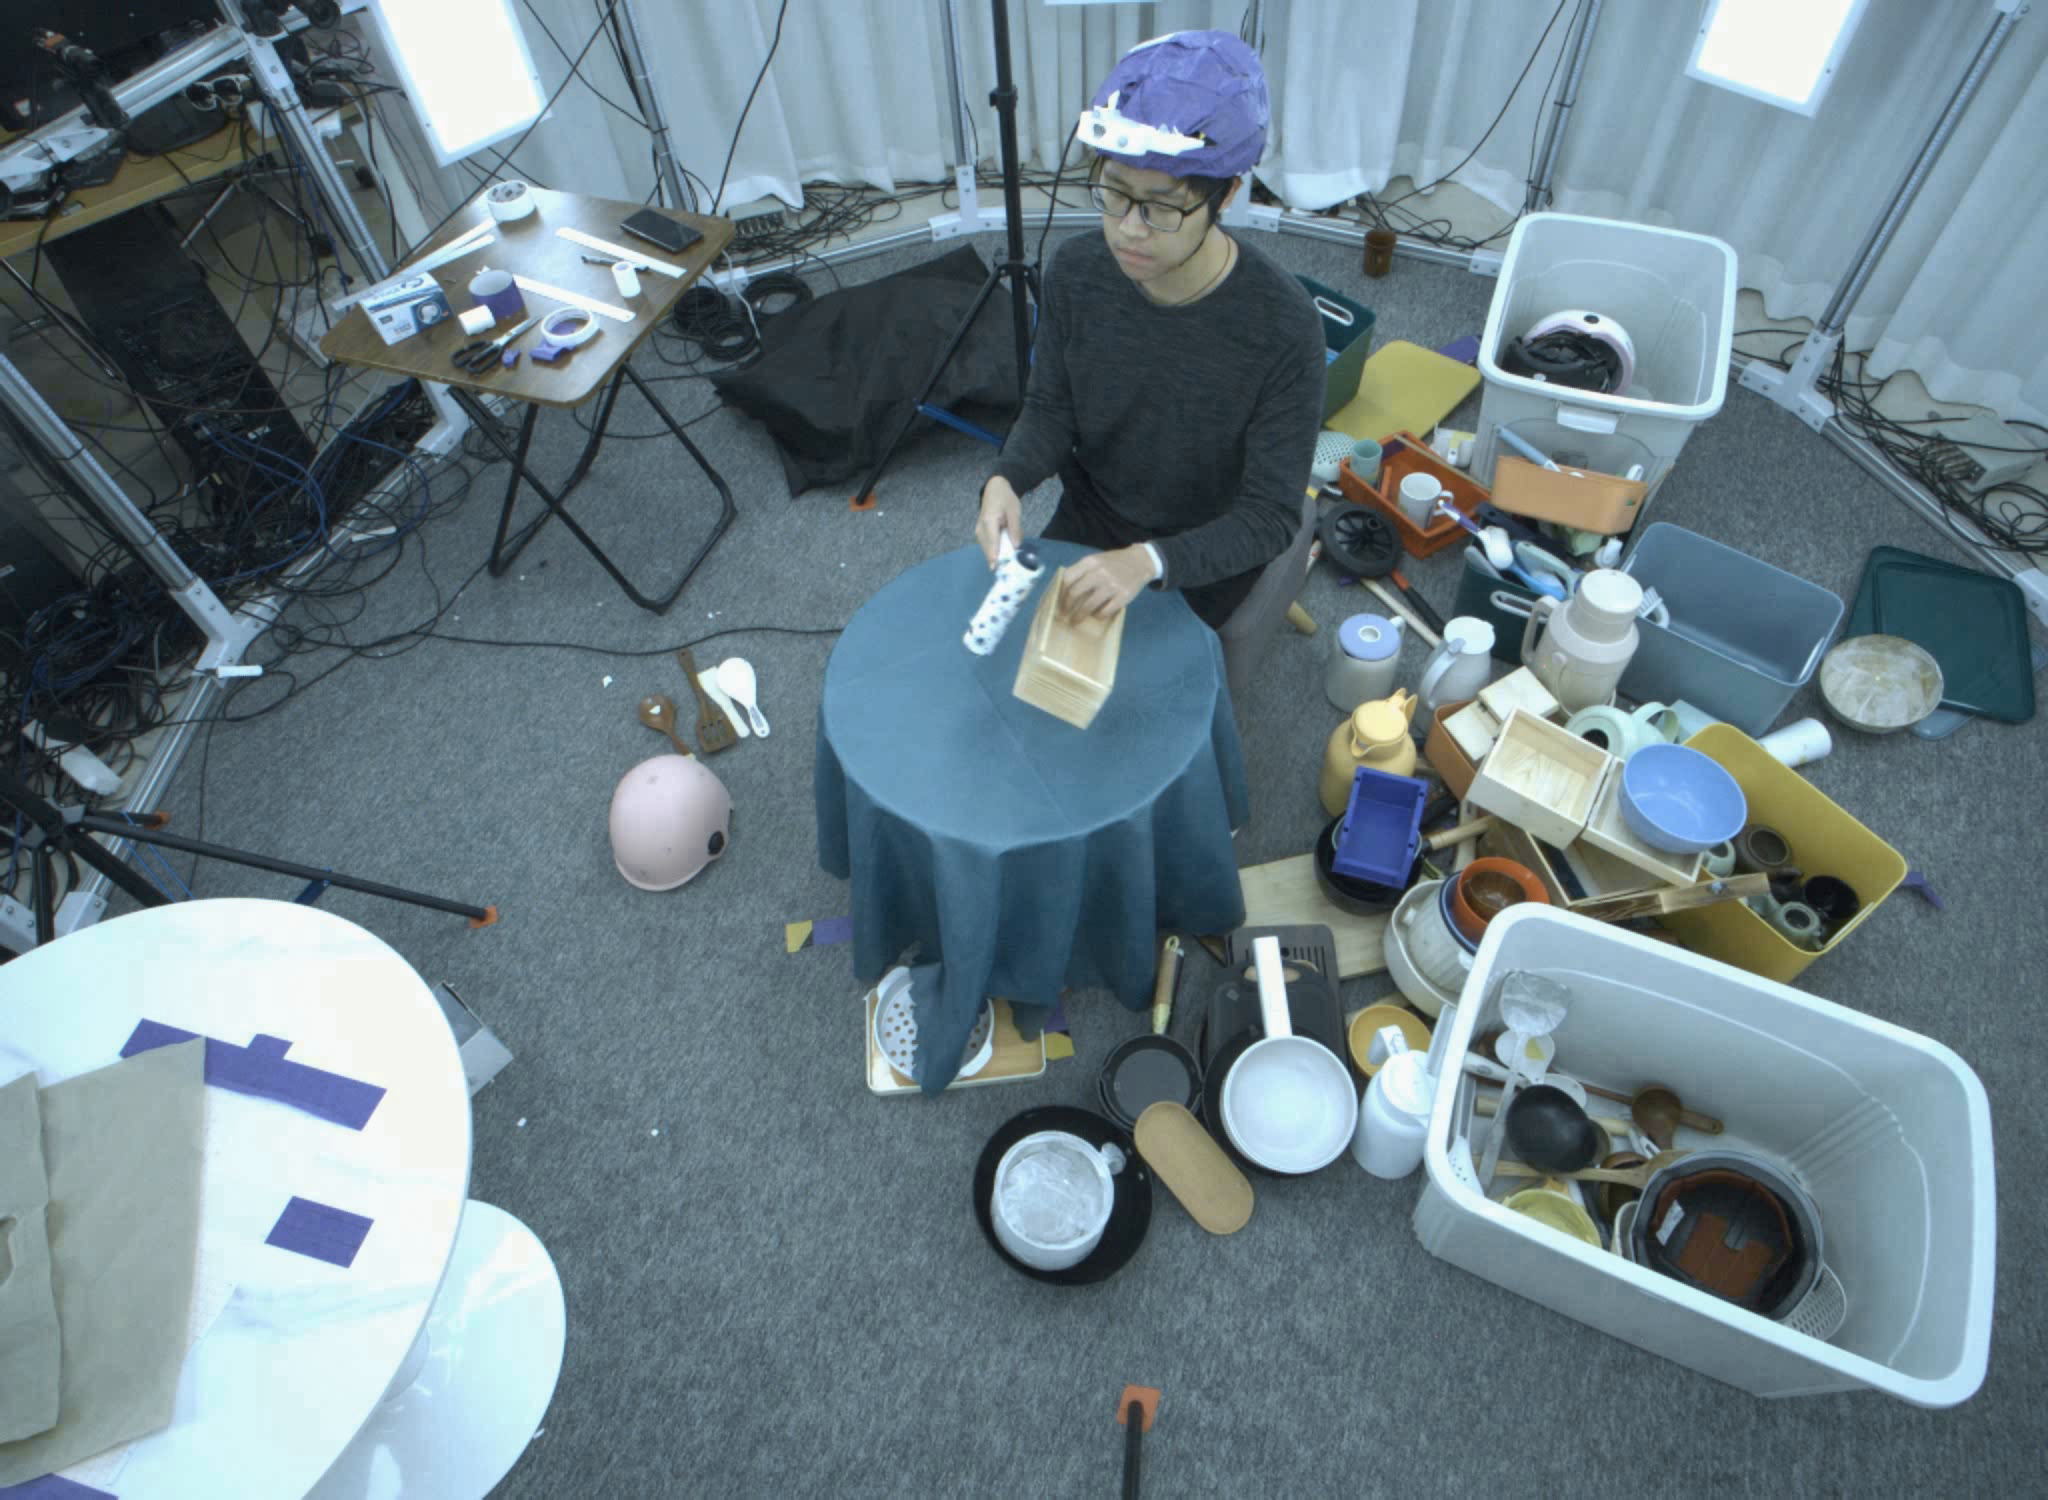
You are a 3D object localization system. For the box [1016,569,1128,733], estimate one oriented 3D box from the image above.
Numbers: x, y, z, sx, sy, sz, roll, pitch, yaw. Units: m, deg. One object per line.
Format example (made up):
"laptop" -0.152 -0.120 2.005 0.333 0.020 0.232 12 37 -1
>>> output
"box" 0.066 -0.135 1.632 0.109 0.080 0.210 25 39 -13

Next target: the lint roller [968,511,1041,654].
"lint roller" -0.034 -0.275 1.781 0.051 0.176 0.244 15 41 -18
